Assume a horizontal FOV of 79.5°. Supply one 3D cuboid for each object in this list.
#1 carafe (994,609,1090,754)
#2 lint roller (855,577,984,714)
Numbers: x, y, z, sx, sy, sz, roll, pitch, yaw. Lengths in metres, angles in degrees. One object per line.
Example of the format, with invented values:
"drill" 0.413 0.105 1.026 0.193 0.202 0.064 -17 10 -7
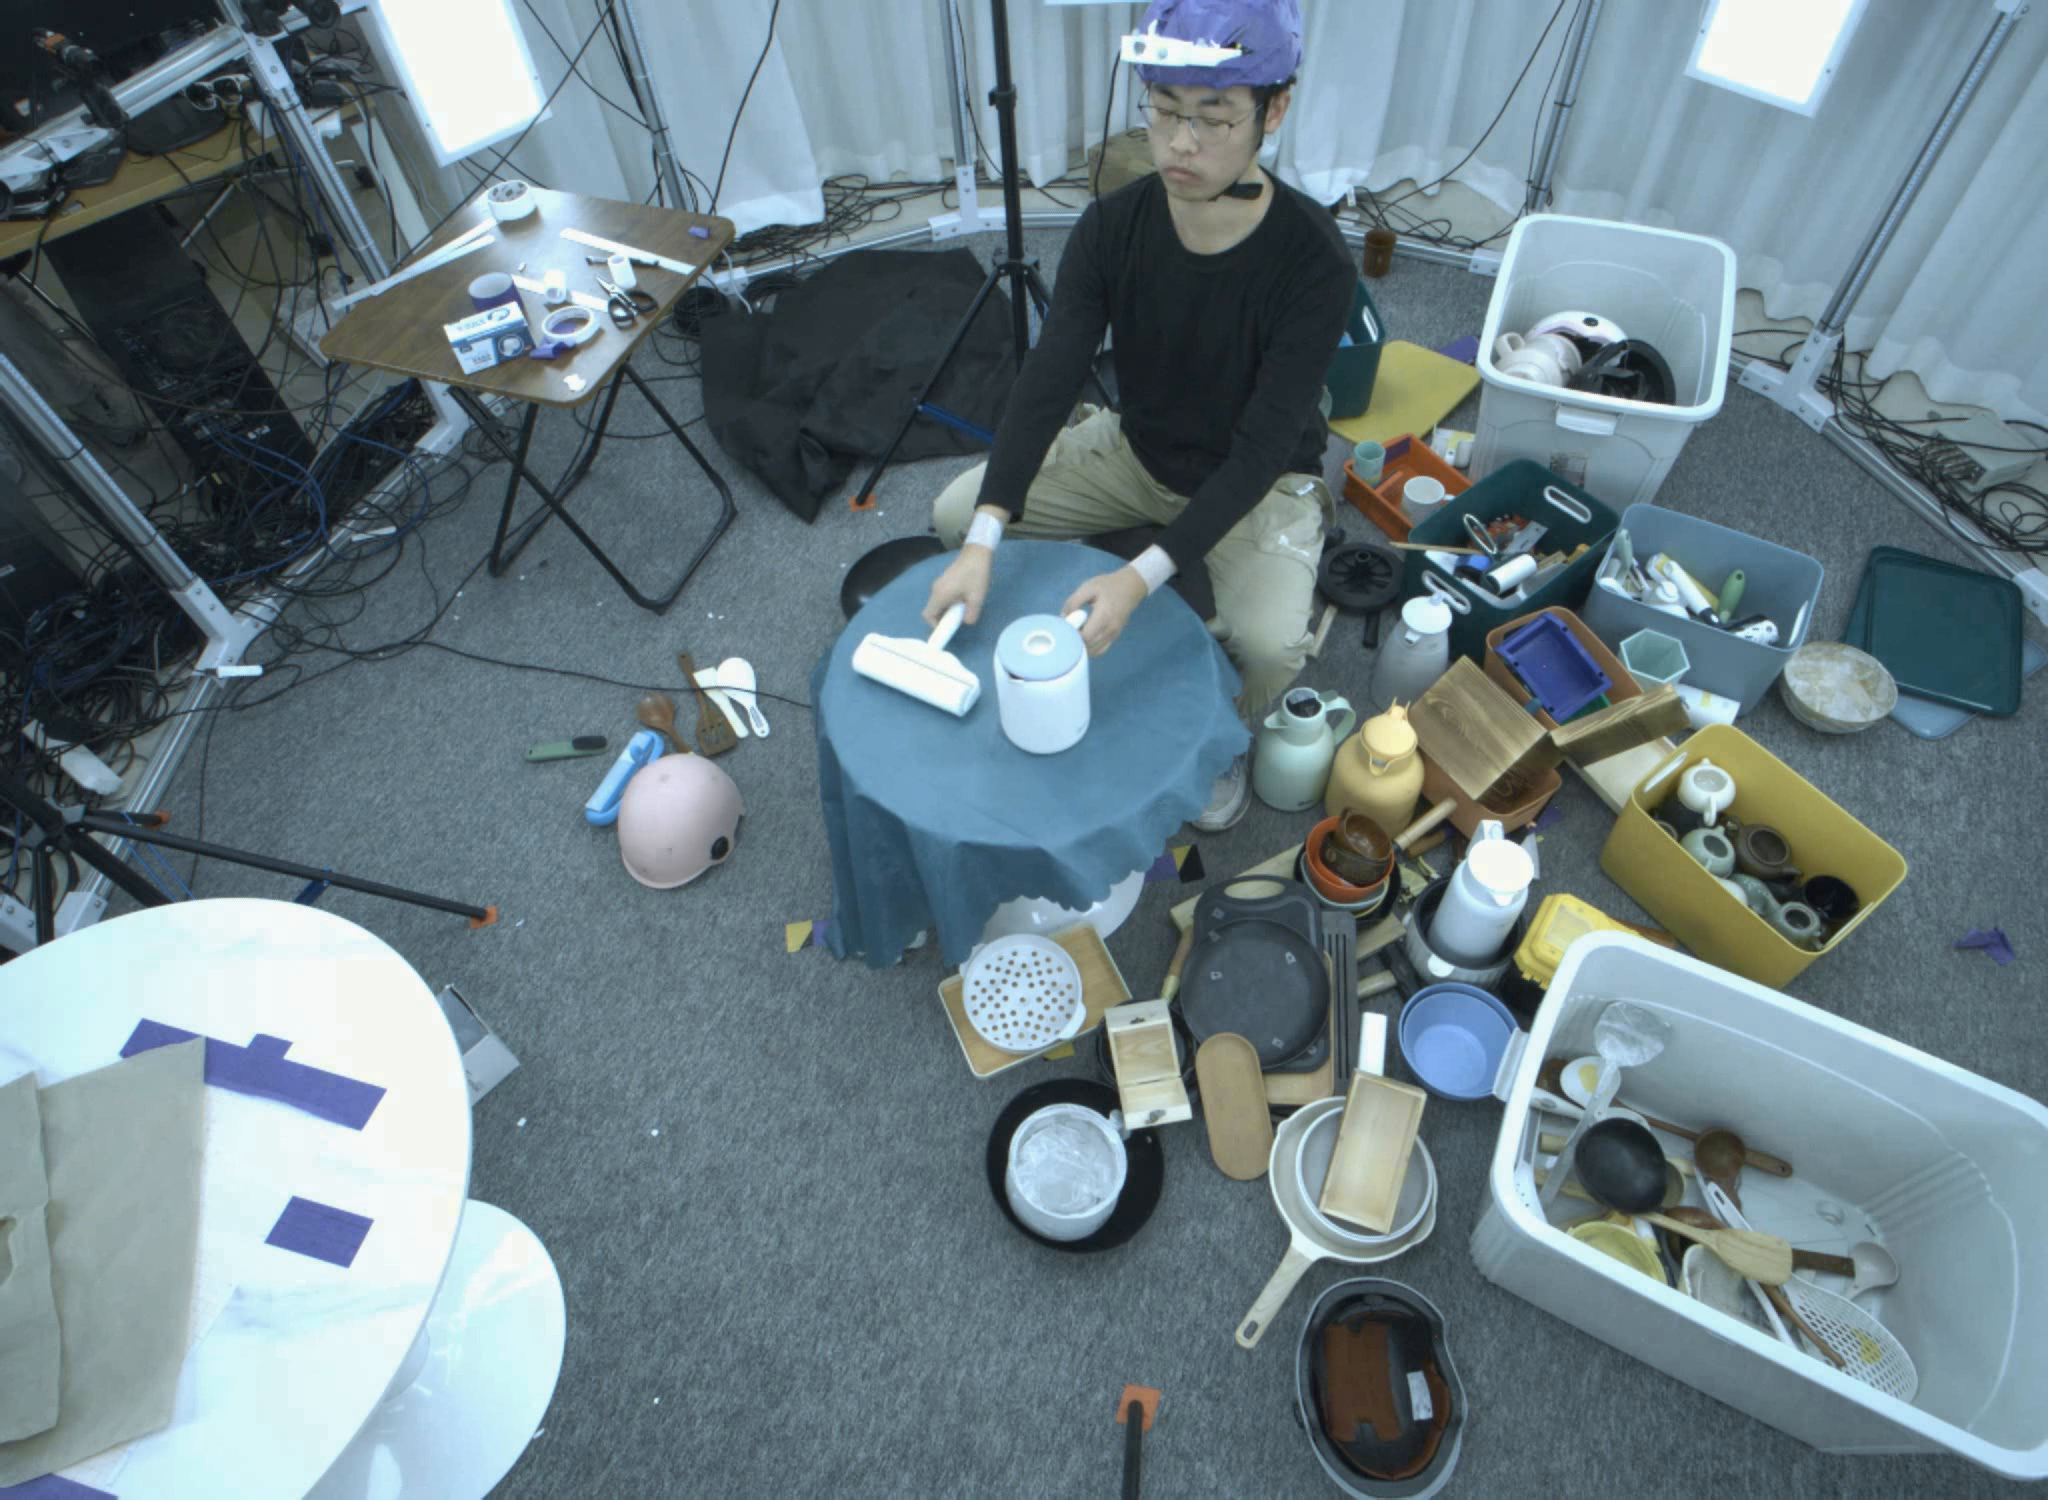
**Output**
"carafe" 0.040 -0.110 1.758 0.130 0.184 0.192 27 58 20
"lint roller" -0.124 -0.180 1.869 0.200 0.049 0.225 23 70 19
